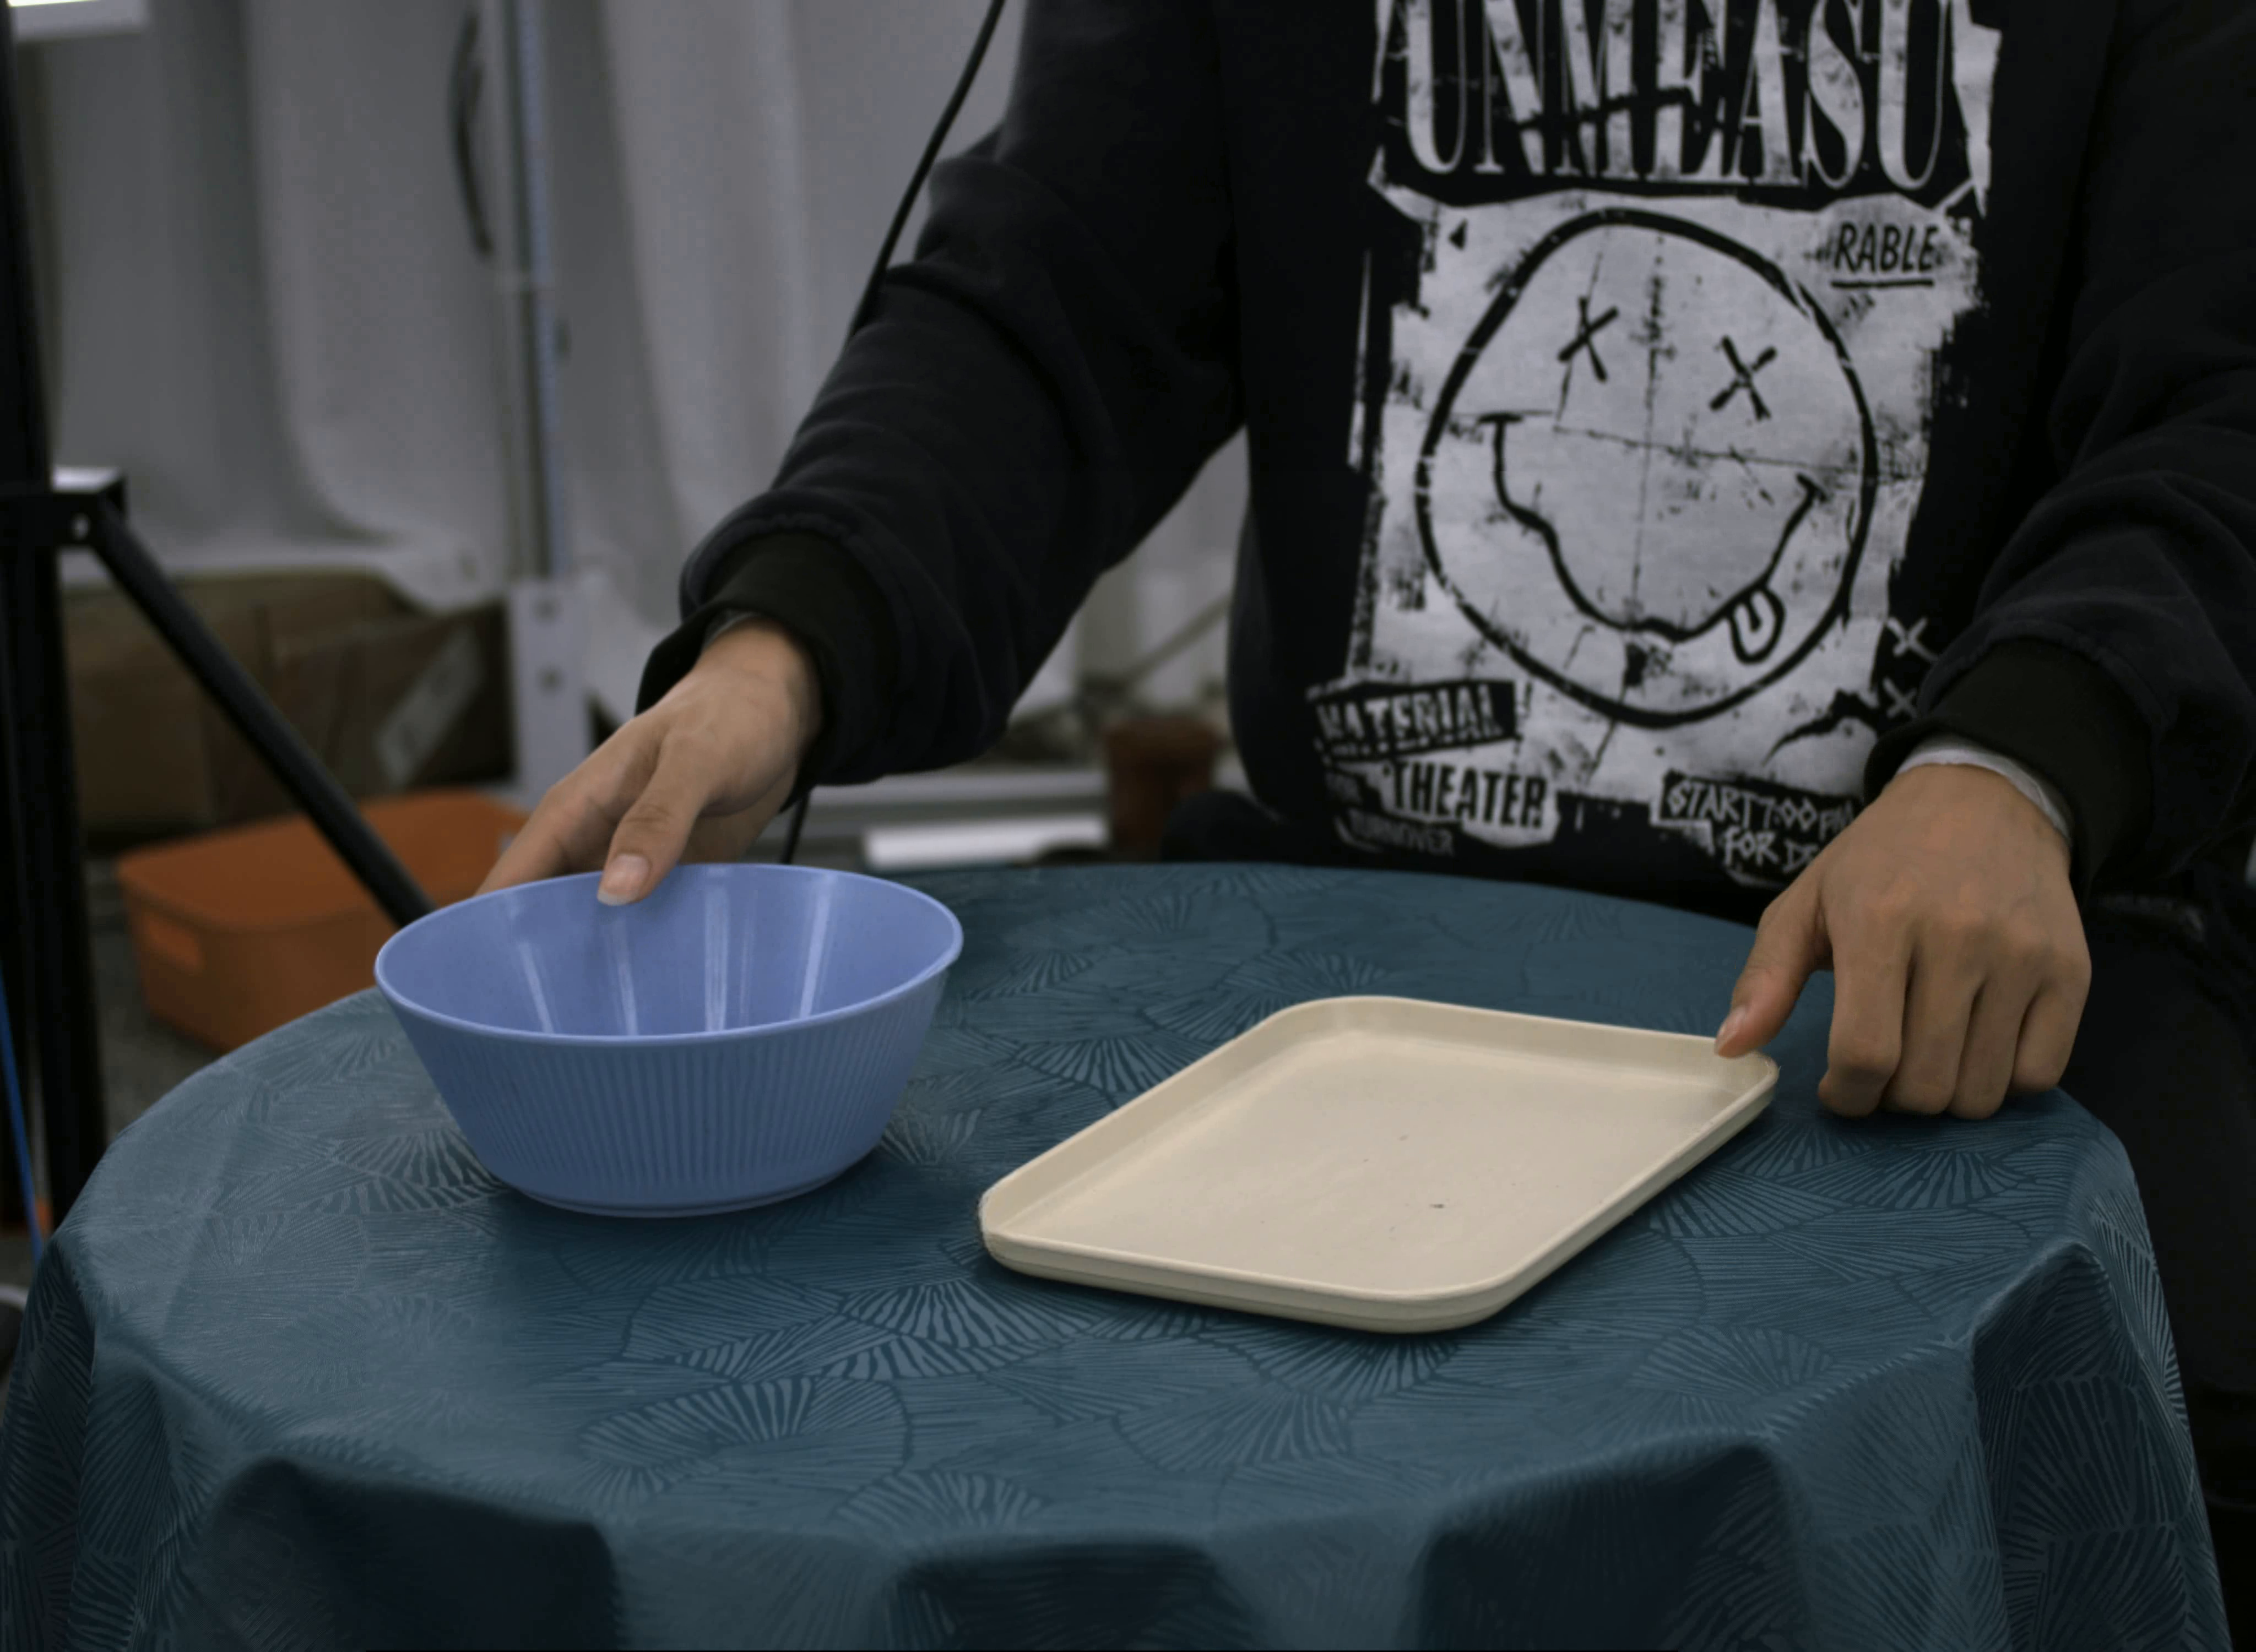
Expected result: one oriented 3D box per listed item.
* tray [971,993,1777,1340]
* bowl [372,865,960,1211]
[{"bbox_3d":[0.076,0.098,1.549,0.174,0.017,0.235,7,19,30],"label":"tray"},{"bbox_3d":[-0.137,0.066,1.600,0.175,0.070,0.177,-2,16,-1],"label":"bowl"}]
